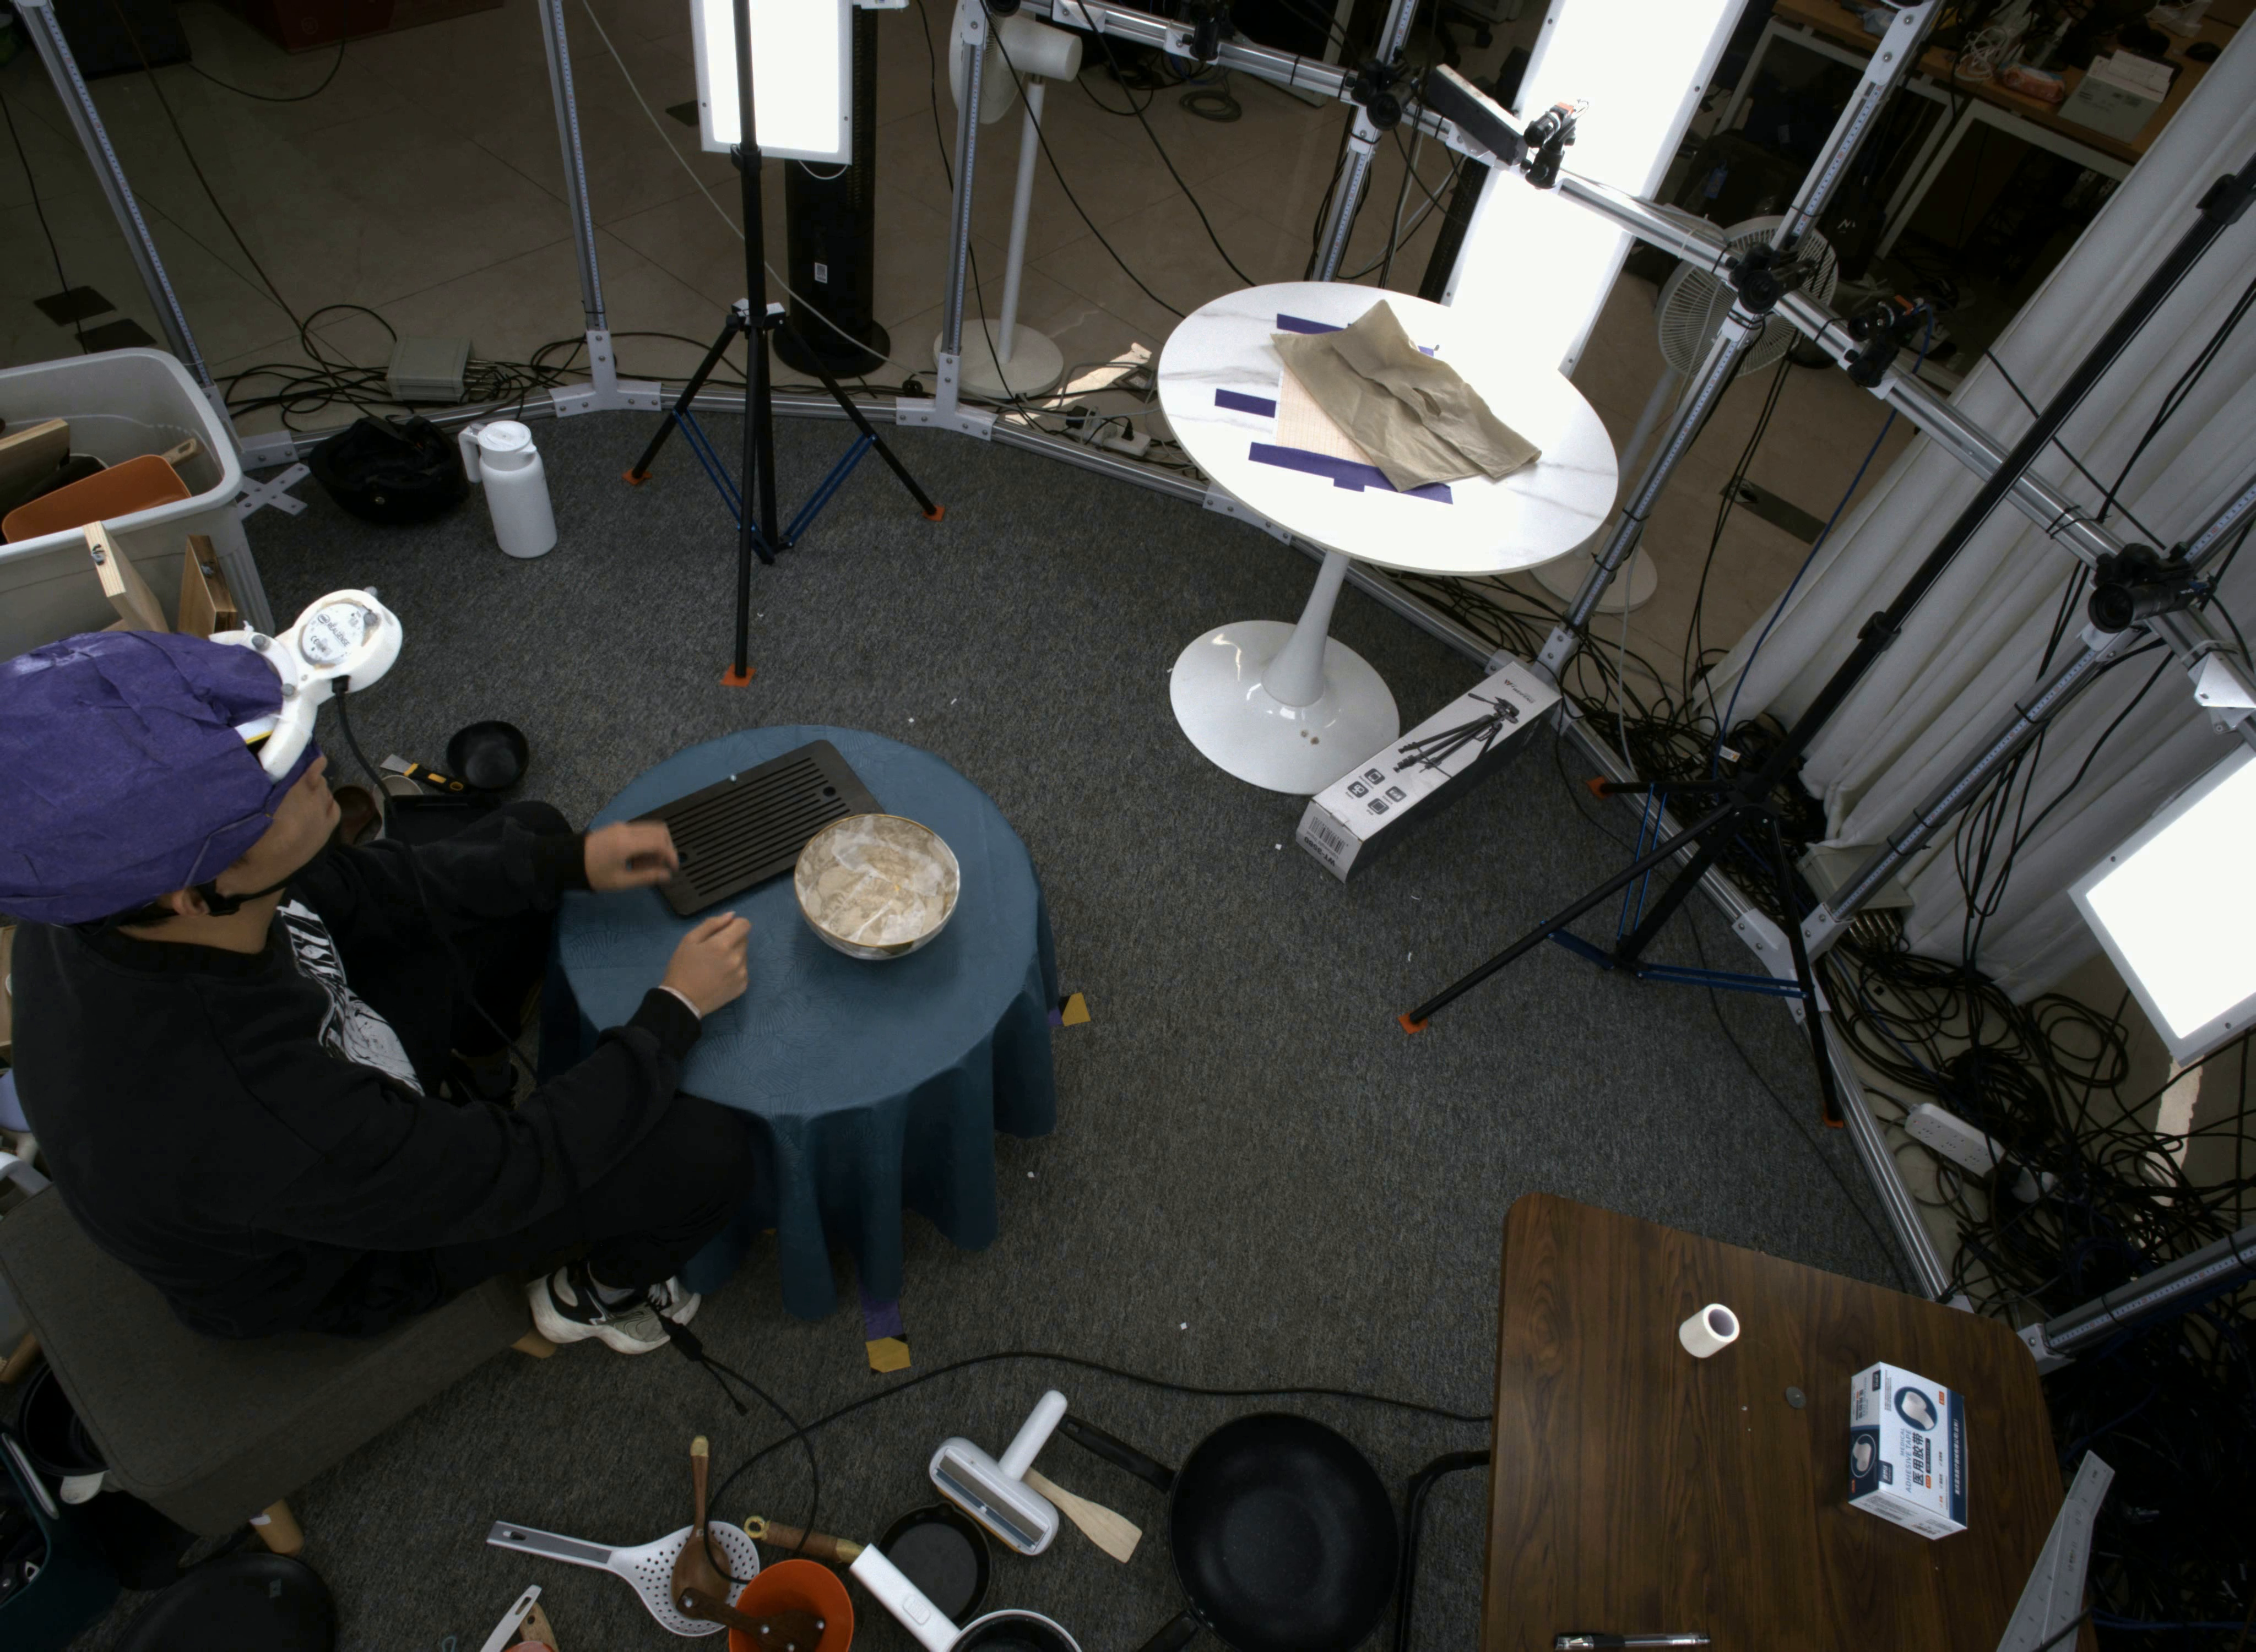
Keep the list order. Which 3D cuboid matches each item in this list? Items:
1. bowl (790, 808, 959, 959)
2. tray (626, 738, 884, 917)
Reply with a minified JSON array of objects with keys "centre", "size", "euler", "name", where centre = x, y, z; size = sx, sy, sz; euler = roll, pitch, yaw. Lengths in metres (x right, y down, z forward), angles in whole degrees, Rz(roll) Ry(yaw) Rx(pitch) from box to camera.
[{"centre":[-0.318,0.085,1.633],"size":[0.214,0.096,0.211],"euler":[8,54,-9],"name":"bowl"},{"centre":[-0.489,-0.003,1.703],"size":[0.307,0.019,0.166],"euler":[-28,65,-30],"name":"tray"}]
